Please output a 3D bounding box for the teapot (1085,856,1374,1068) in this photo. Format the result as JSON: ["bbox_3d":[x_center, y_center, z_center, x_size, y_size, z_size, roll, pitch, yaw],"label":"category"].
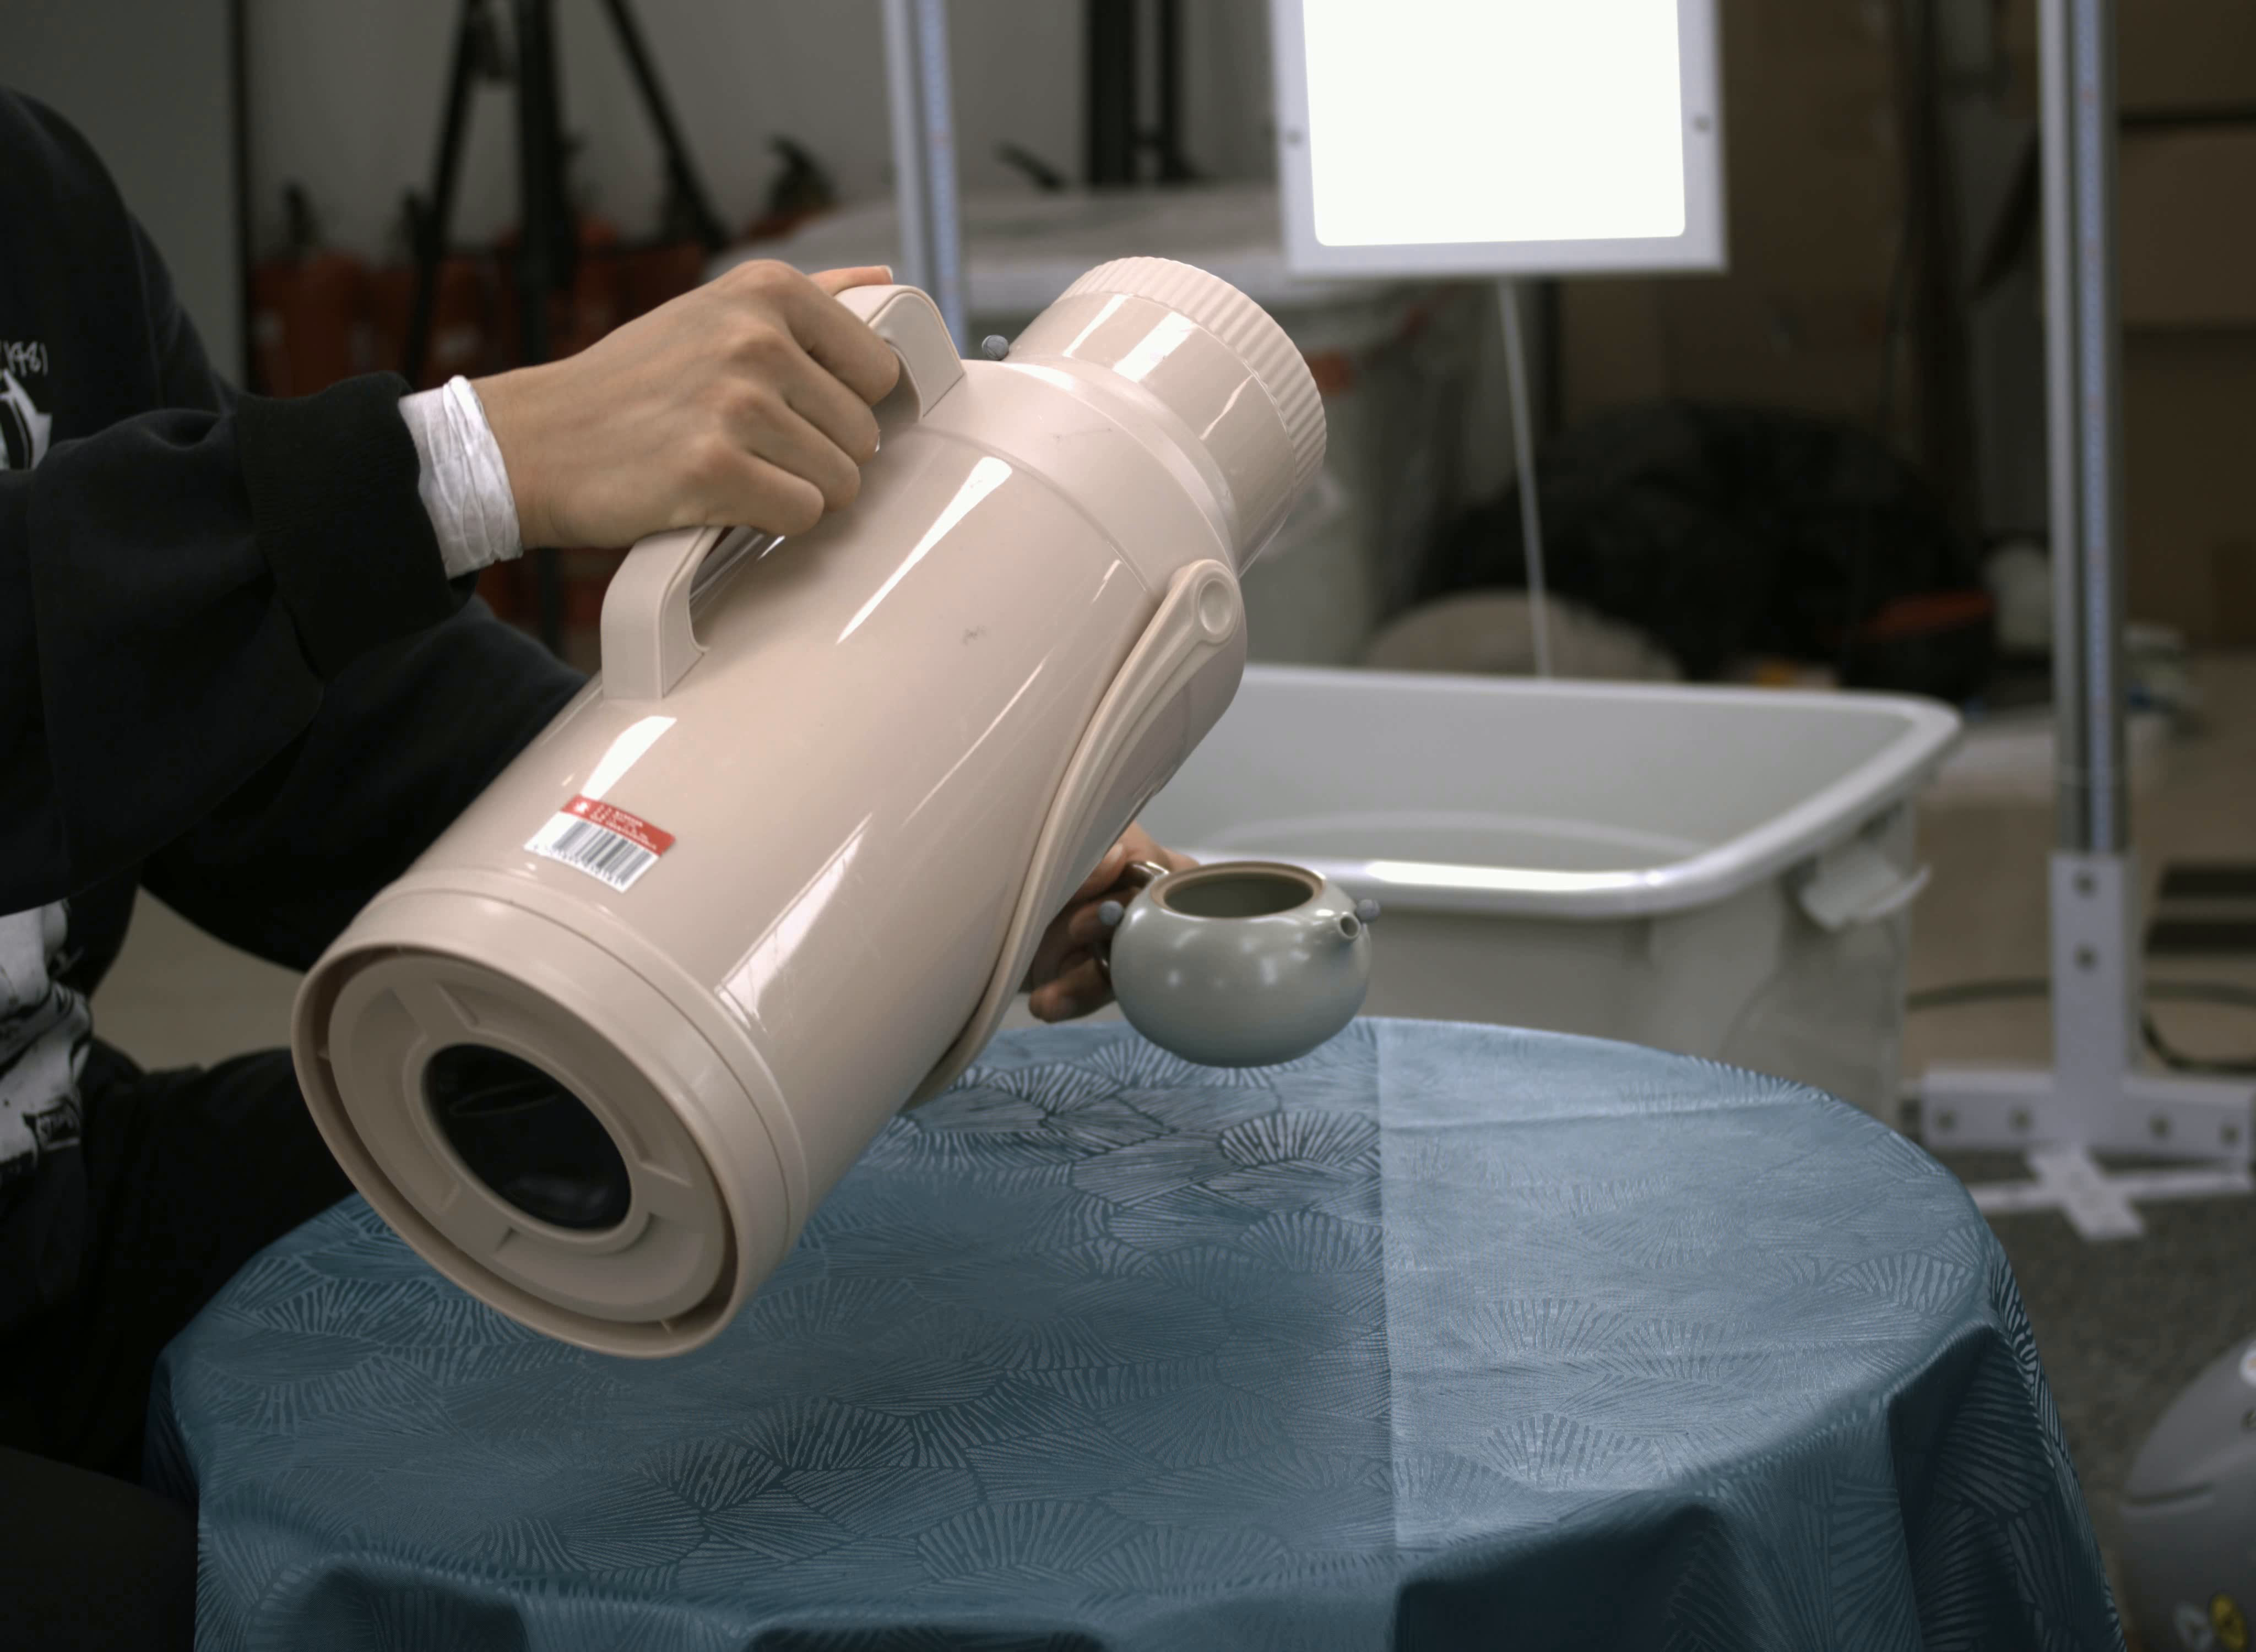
[{"bbox_3d":[0.033,0.046,1.926,0.131,0.060,0.089,14,29,41],"label":"teapot"}]

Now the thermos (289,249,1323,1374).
[{"bbox_3d":[-0.087,-0.034,1.704,0.179,0.206,0.399,5,43,40],"label":"thermos"}]
